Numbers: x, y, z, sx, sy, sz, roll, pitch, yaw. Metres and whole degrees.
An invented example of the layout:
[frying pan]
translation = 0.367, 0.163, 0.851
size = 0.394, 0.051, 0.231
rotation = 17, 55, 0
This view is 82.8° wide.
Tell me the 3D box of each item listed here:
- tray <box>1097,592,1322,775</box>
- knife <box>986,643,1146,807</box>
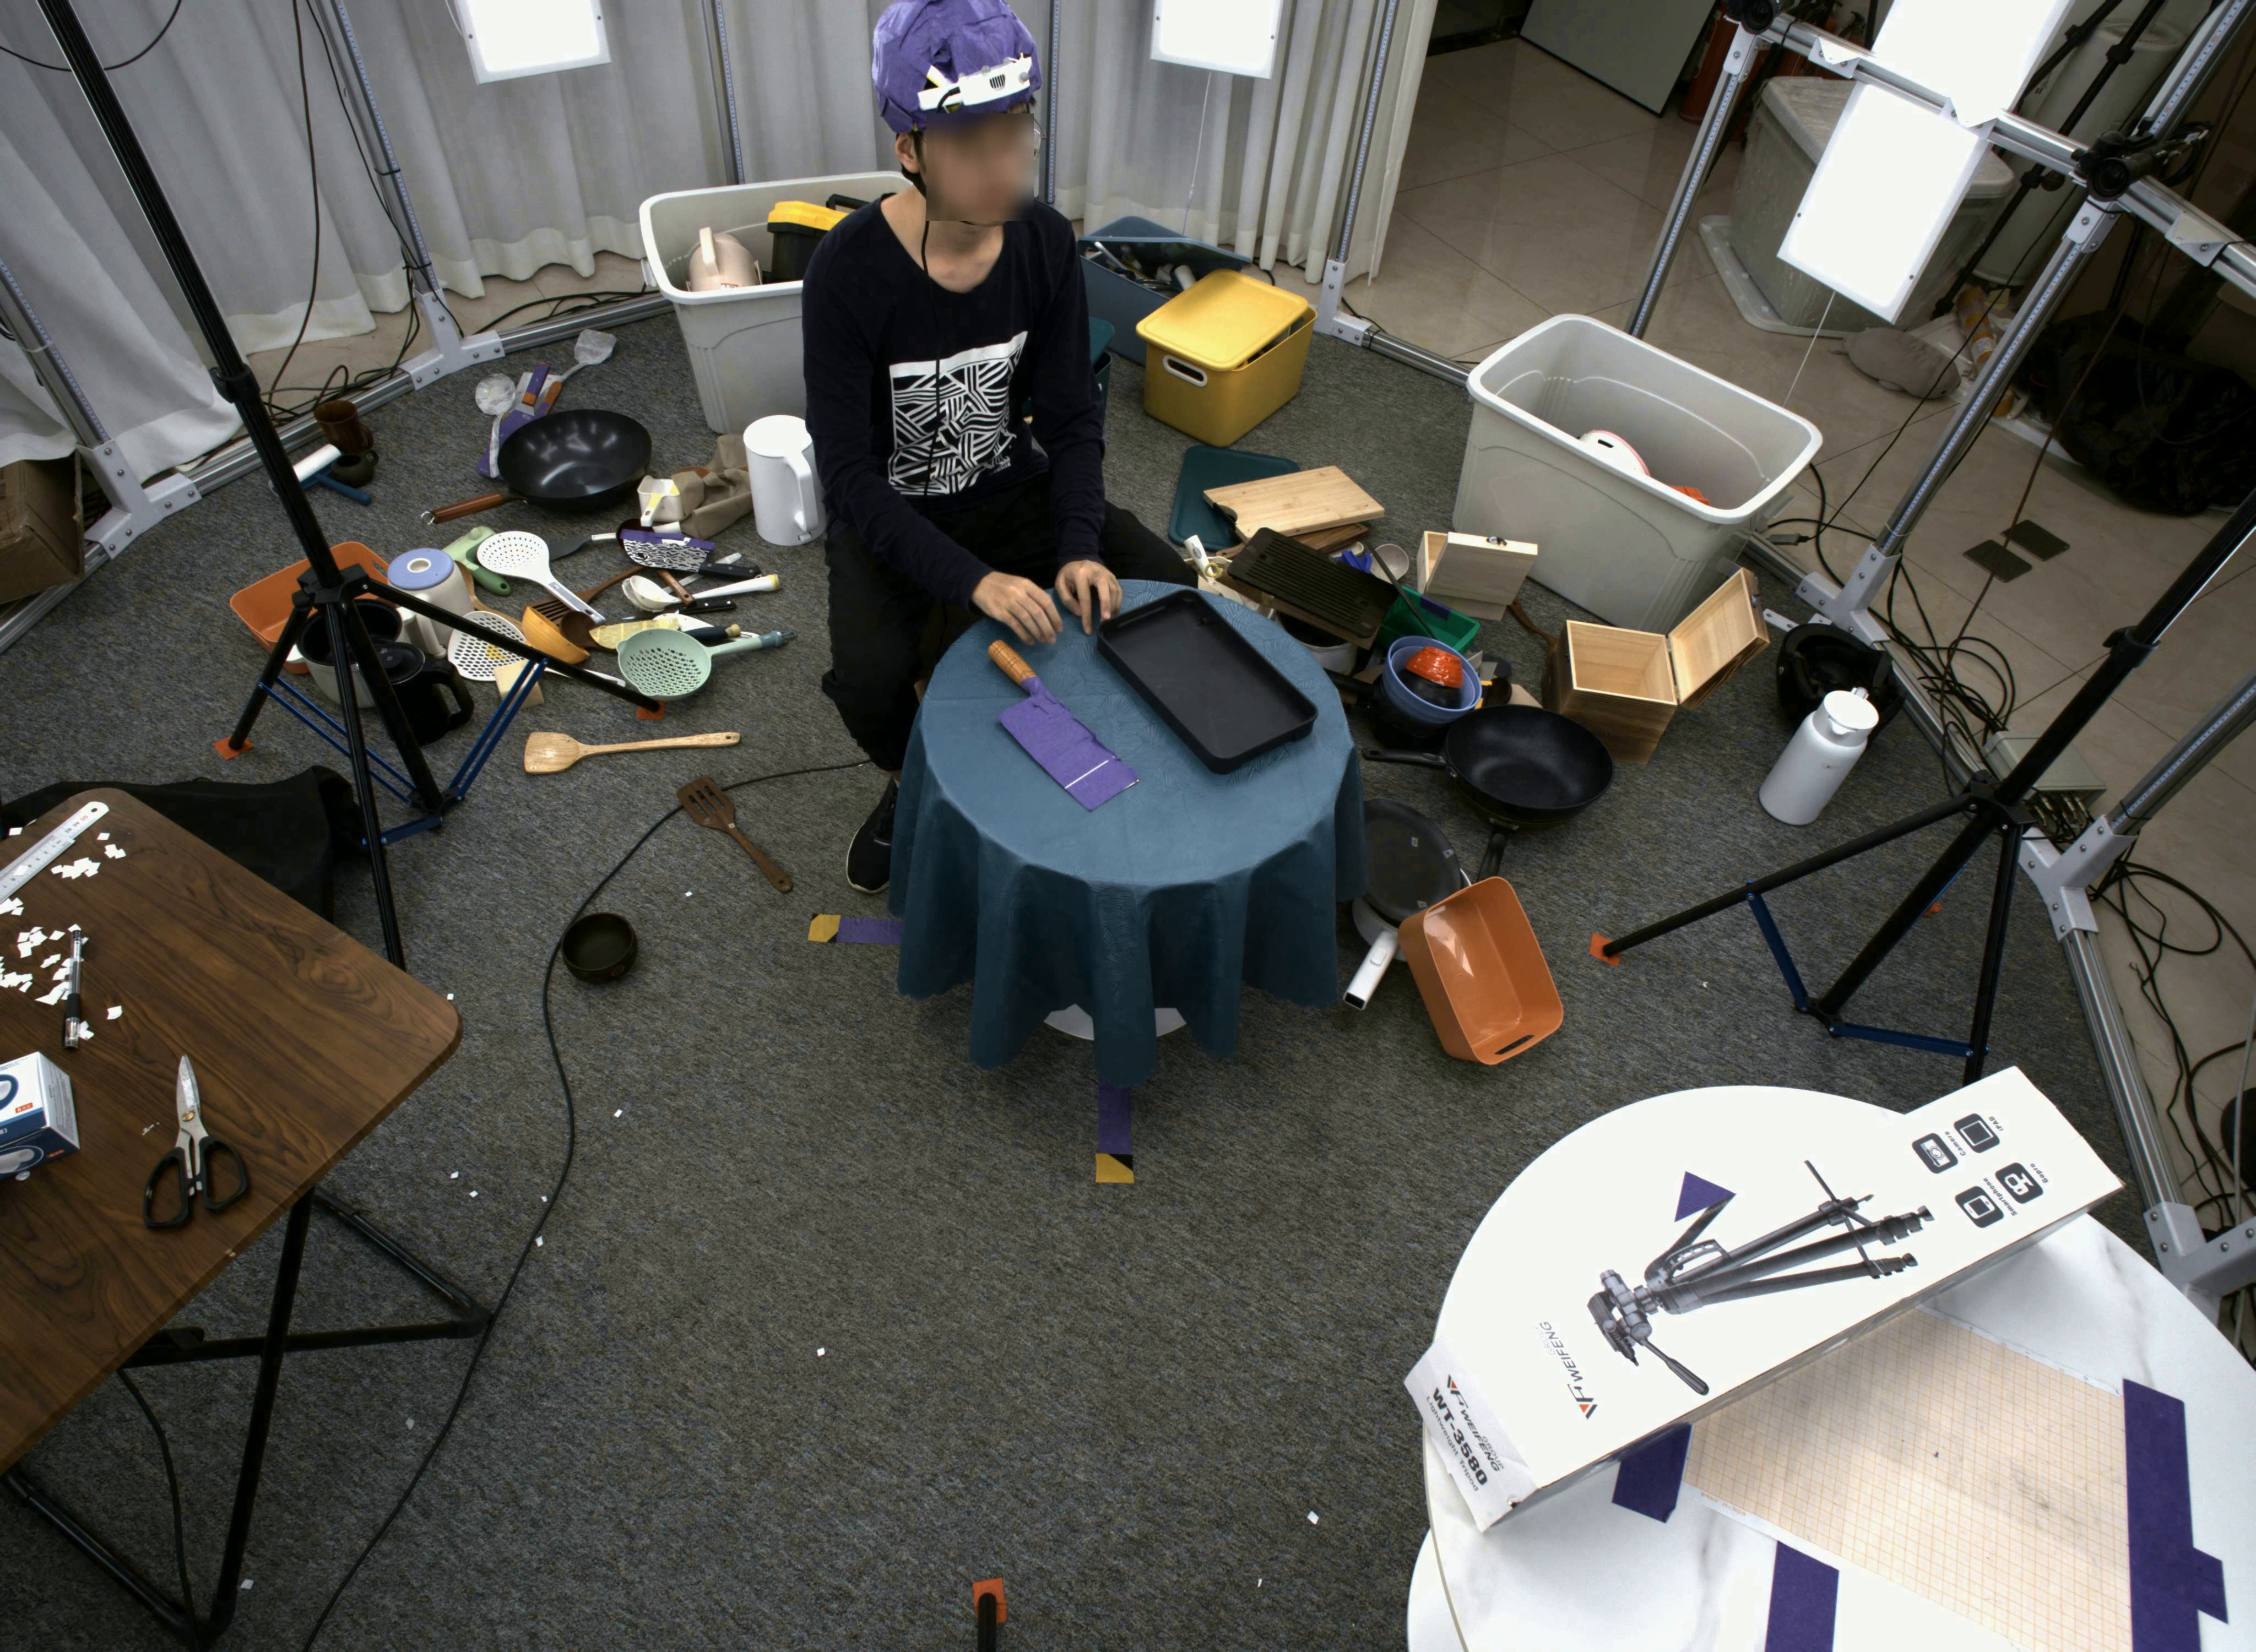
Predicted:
[tray]
translation = 0.111, -0.210, 1.836
size = 0.185, 0.036, 0.324
rotation = -26, 54, -24
[knife]
translation = -0.114, -0.143, 1.766
size = 0.104, 0.031, 0.320
rotation = -31, 58, -27
